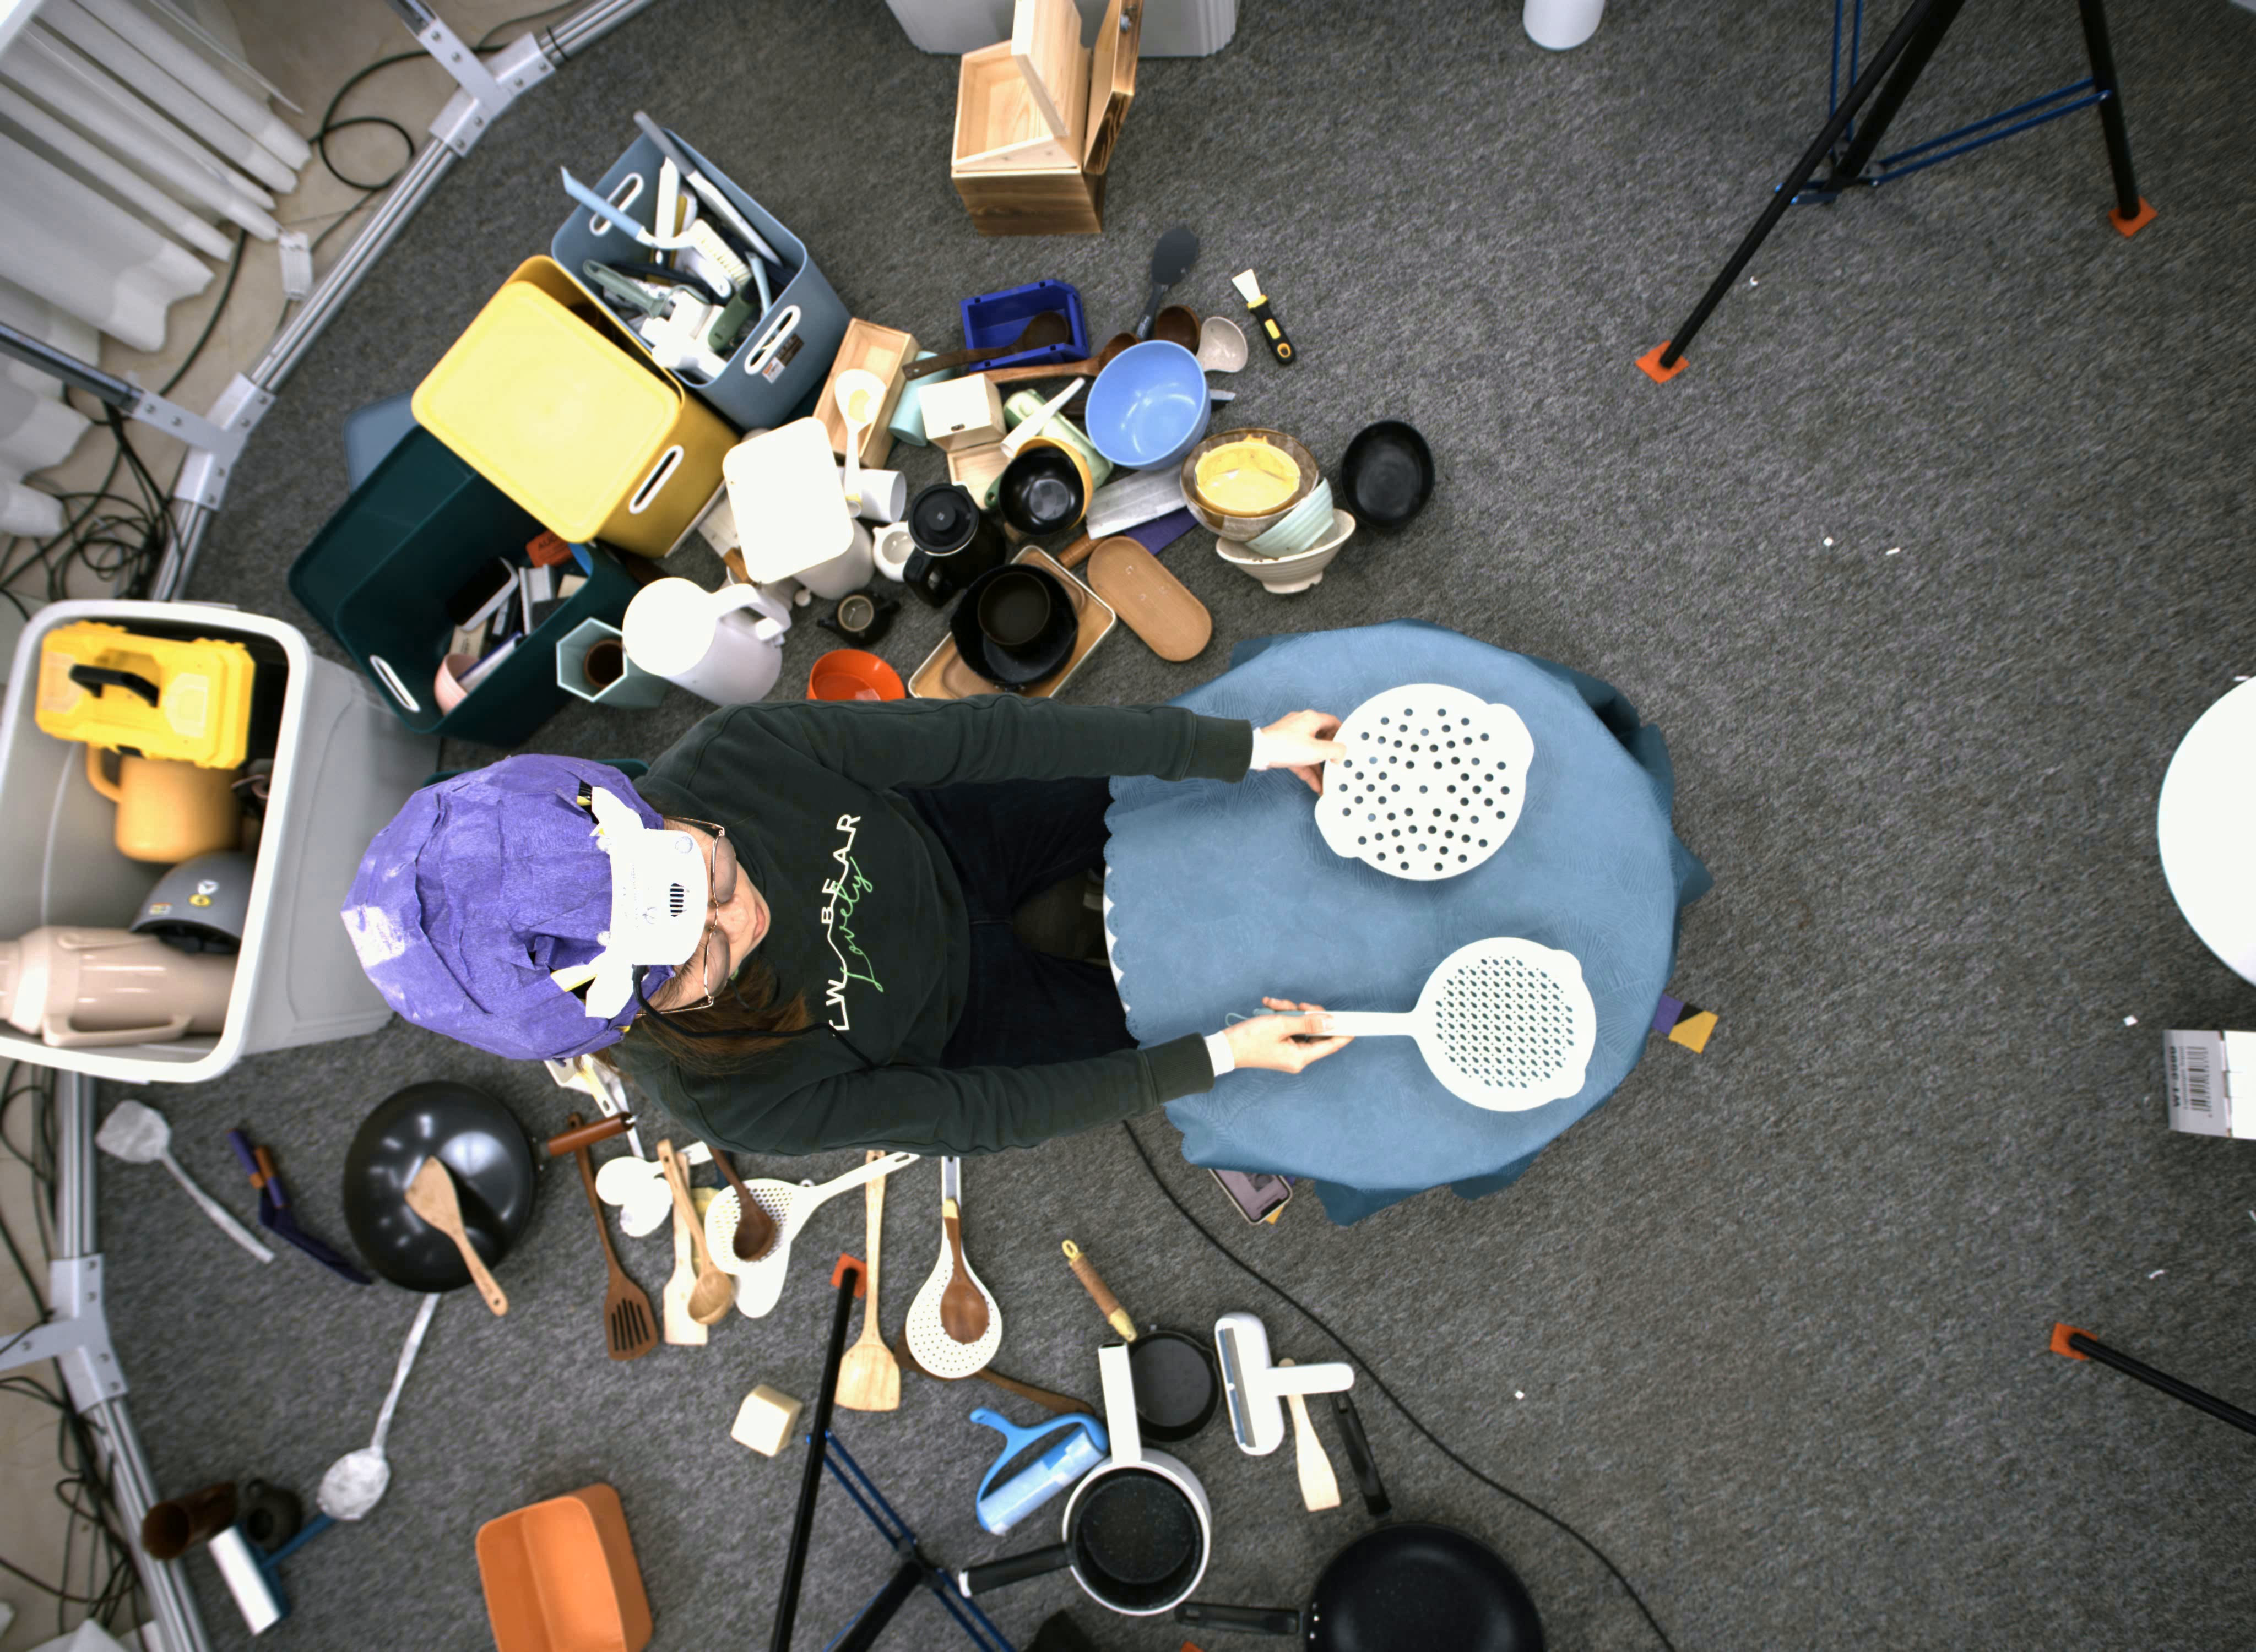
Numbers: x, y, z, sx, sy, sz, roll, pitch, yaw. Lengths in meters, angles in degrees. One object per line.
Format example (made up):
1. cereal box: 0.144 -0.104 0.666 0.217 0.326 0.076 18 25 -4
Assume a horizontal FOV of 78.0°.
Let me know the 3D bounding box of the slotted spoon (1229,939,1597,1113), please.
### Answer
1. slotted spoon: 0.280 0.198 1.388 0.360 0.075 0.168 -1 84 6

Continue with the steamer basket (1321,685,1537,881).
1. steamer basket: 0.312 -0.043 1.427 0.232 0.069 0.200 -30 78 9
